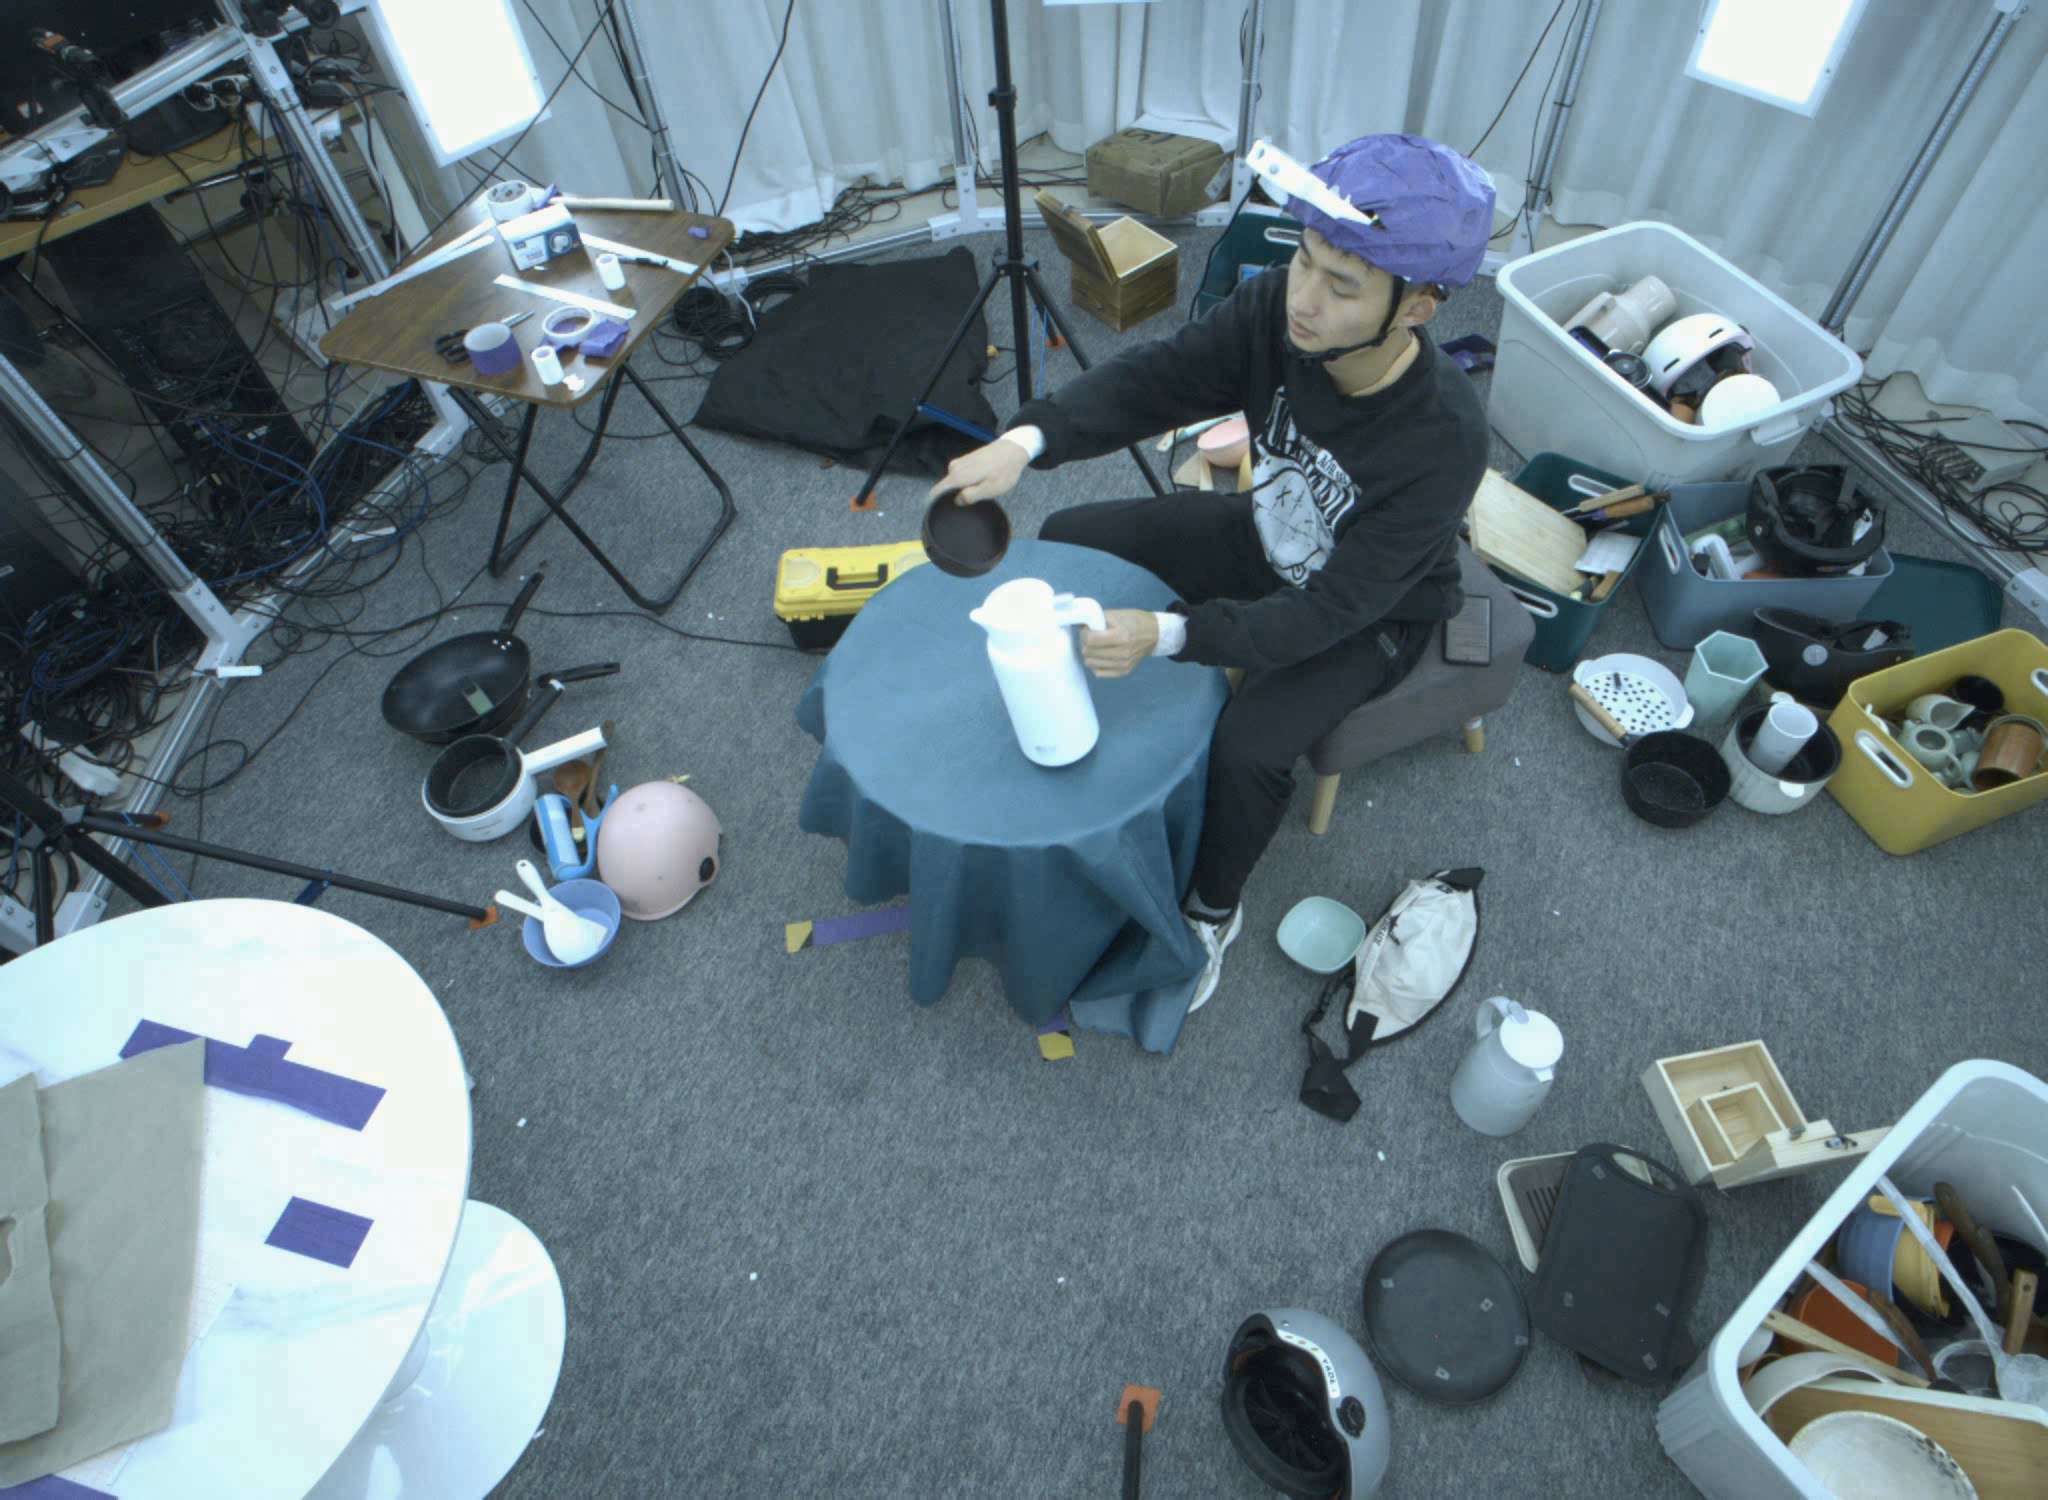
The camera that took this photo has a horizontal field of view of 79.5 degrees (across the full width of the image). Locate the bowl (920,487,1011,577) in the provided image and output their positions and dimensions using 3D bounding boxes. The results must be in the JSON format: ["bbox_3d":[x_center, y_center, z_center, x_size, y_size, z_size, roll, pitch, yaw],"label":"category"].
[{"bbox_3d":[-0.081,-0.280,1.608,0.119,0.069,0.117,6,70,-15],"label":"bowl"}]

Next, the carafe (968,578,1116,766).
[{"bbox_3d":[0.039,-0.107,1.681,0.172,0.273,0.122,-8,46,10],"label":"carafe"}]
